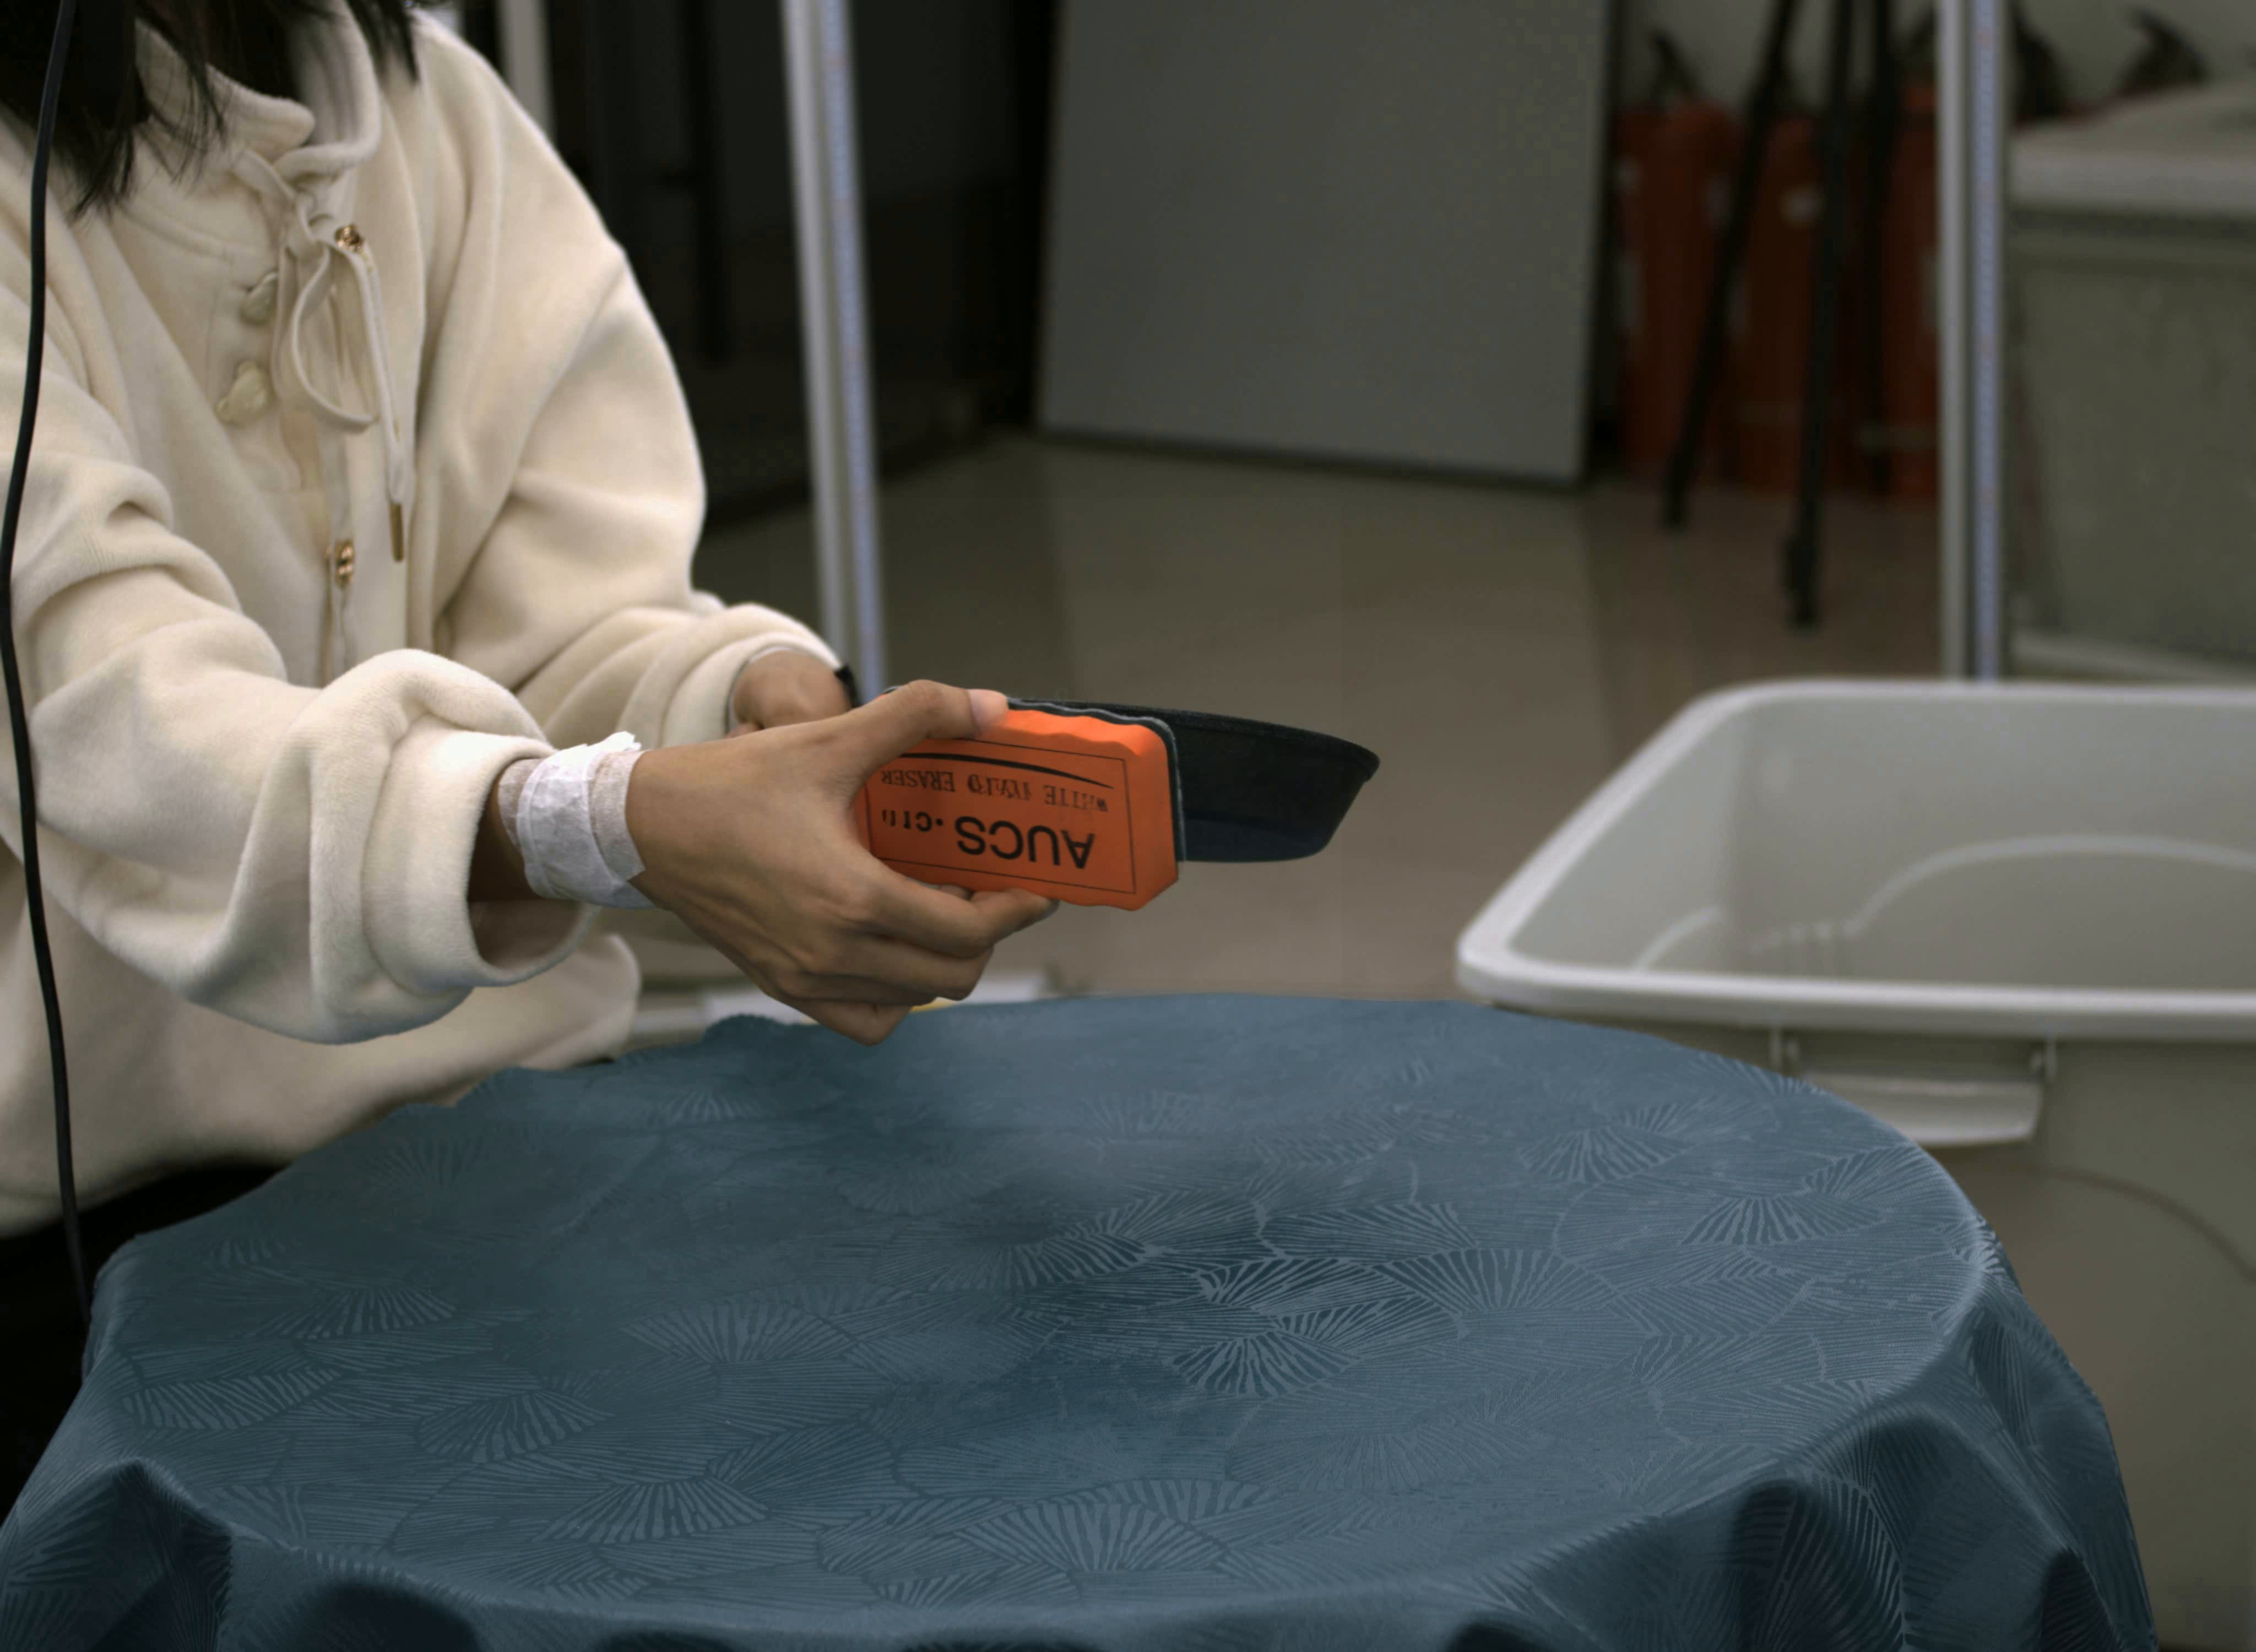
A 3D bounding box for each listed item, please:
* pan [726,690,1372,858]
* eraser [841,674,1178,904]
[{"bbox_3d":[-0.046,-0.018,1.800,0.165,0.050,0.327,10,-8,-32],"label":"pan"},{"bbox_3d":[-0.037,-0.012,1.663,0.108,0.059,0.022,8,25,30],"label":"eraser"}]
